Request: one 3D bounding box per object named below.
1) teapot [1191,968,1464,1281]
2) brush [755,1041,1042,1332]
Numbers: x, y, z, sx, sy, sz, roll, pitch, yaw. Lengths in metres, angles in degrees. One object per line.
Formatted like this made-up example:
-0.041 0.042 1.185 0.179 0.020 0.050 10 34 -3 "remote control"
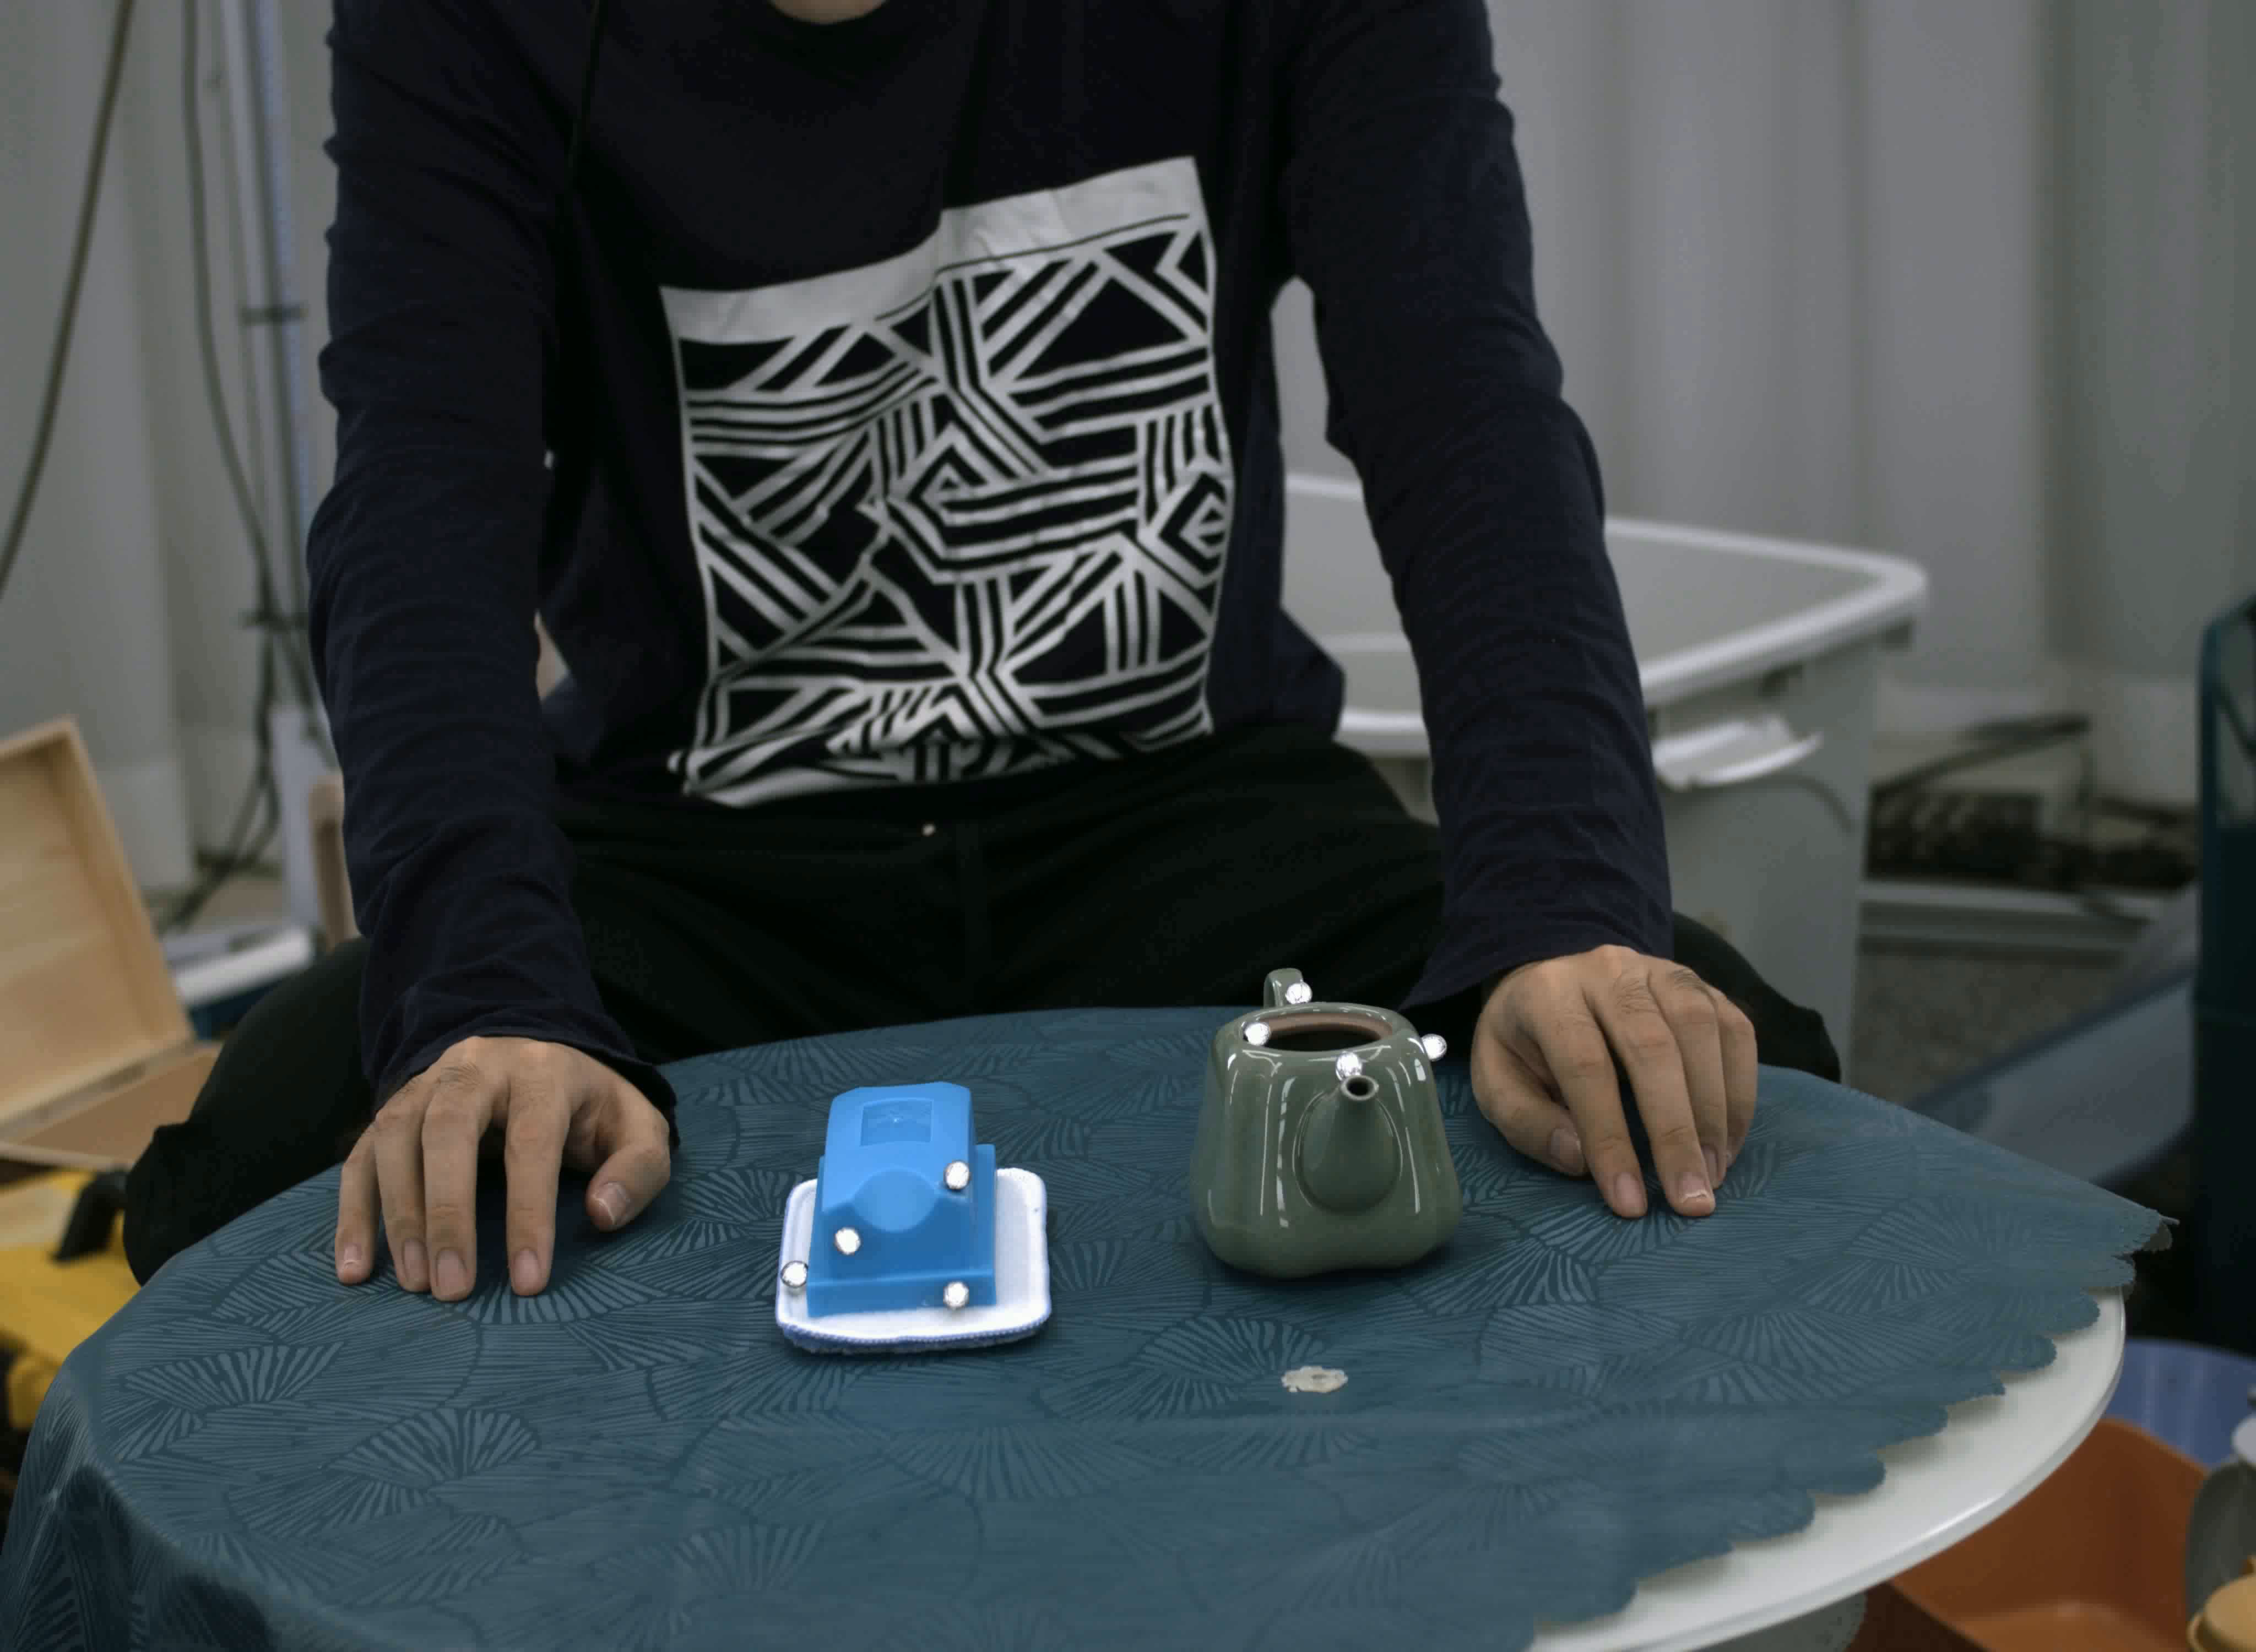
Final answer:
0.059 0.092 1.647 0.079 0.075 0.133 -5 14 -8 "teapot"
-0.068 0.105 1.645 0.083 0.055 0.145 1 18 0 "brush"
